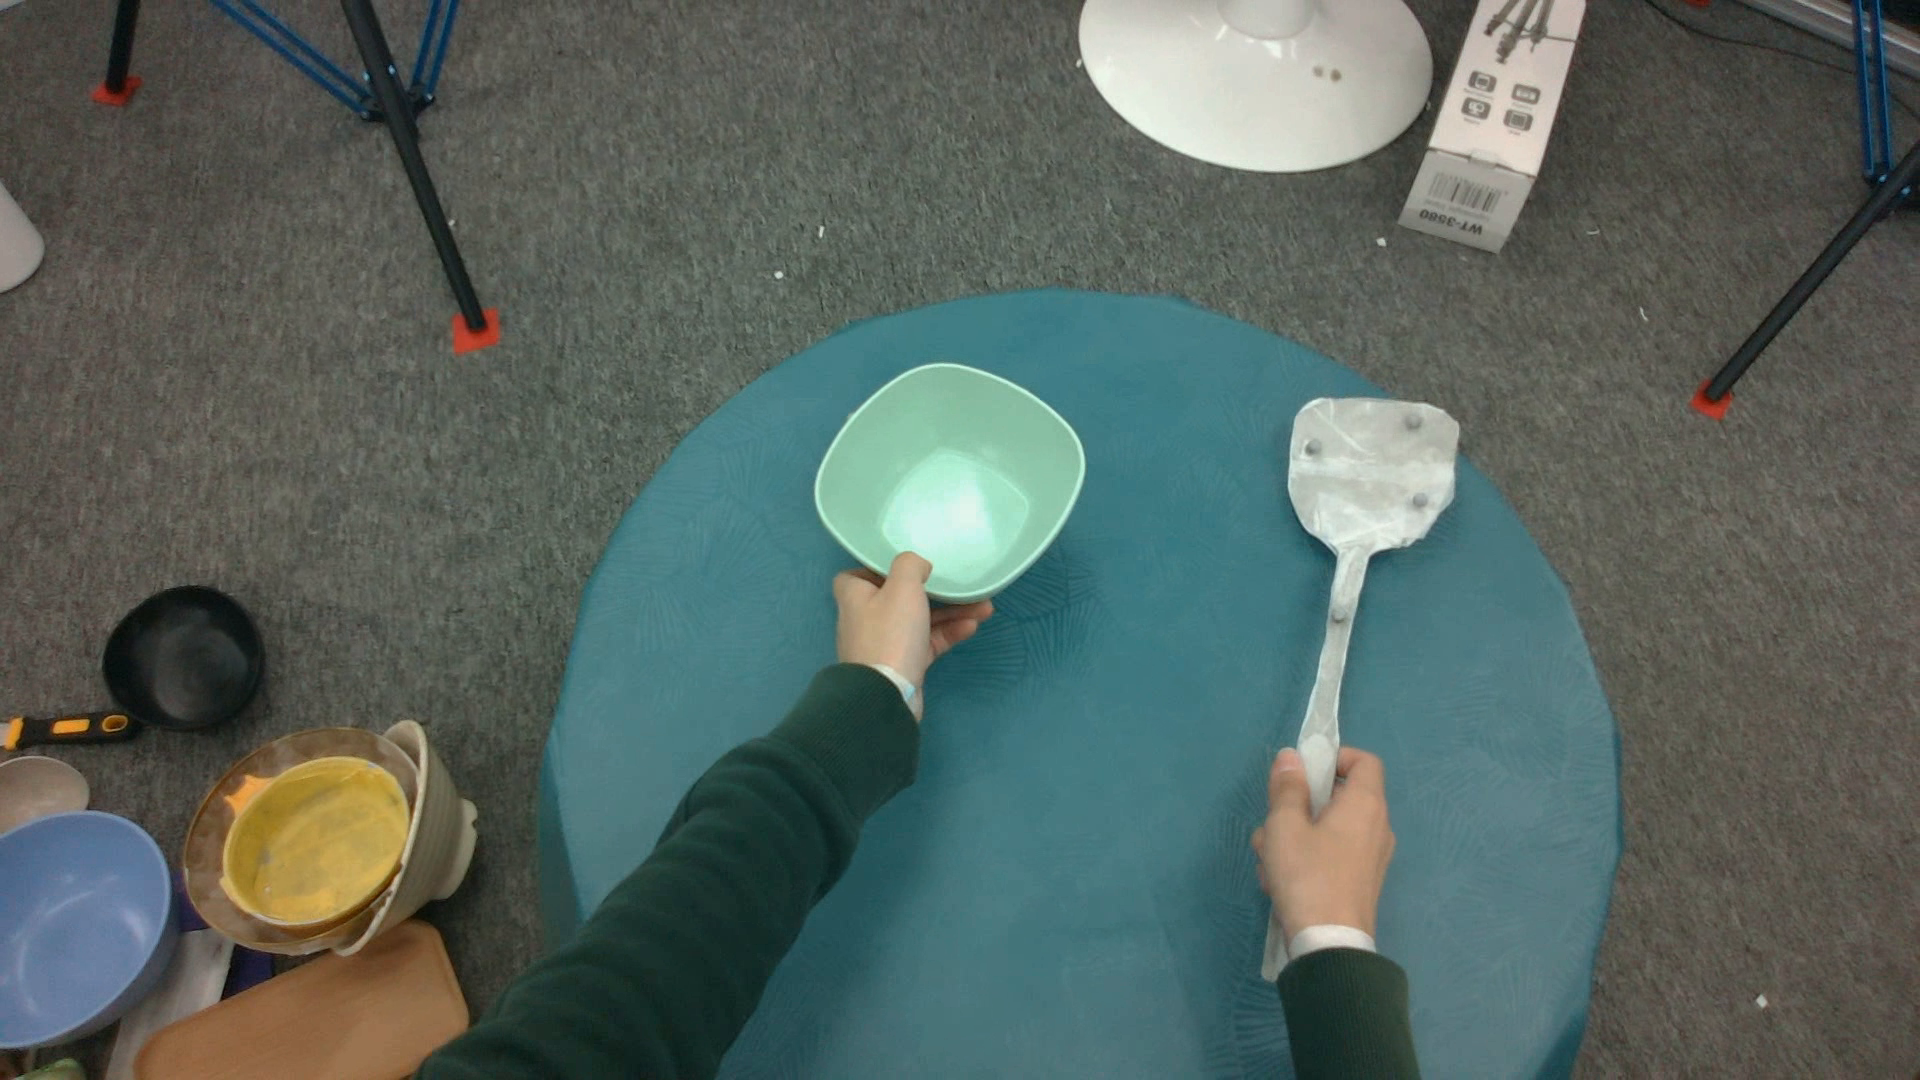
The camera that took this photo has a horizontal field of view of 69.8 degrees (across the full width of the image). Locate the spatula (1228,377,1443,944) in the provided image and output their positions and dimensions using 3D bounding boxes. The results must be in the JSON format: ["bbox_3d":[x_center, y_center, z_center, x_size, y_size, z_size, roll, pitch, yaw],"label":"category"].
[{"bbox_3d":[0.198,0.051,0.767,0.098,0.044,0.367,10,52,17],"label":"spatula"}]

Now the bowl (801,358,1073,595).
[{"bbox_3d":[-0.011,-0.027,0.781,0.151,0.058,0.152,-2,61,4],"label":"bowl"}]
